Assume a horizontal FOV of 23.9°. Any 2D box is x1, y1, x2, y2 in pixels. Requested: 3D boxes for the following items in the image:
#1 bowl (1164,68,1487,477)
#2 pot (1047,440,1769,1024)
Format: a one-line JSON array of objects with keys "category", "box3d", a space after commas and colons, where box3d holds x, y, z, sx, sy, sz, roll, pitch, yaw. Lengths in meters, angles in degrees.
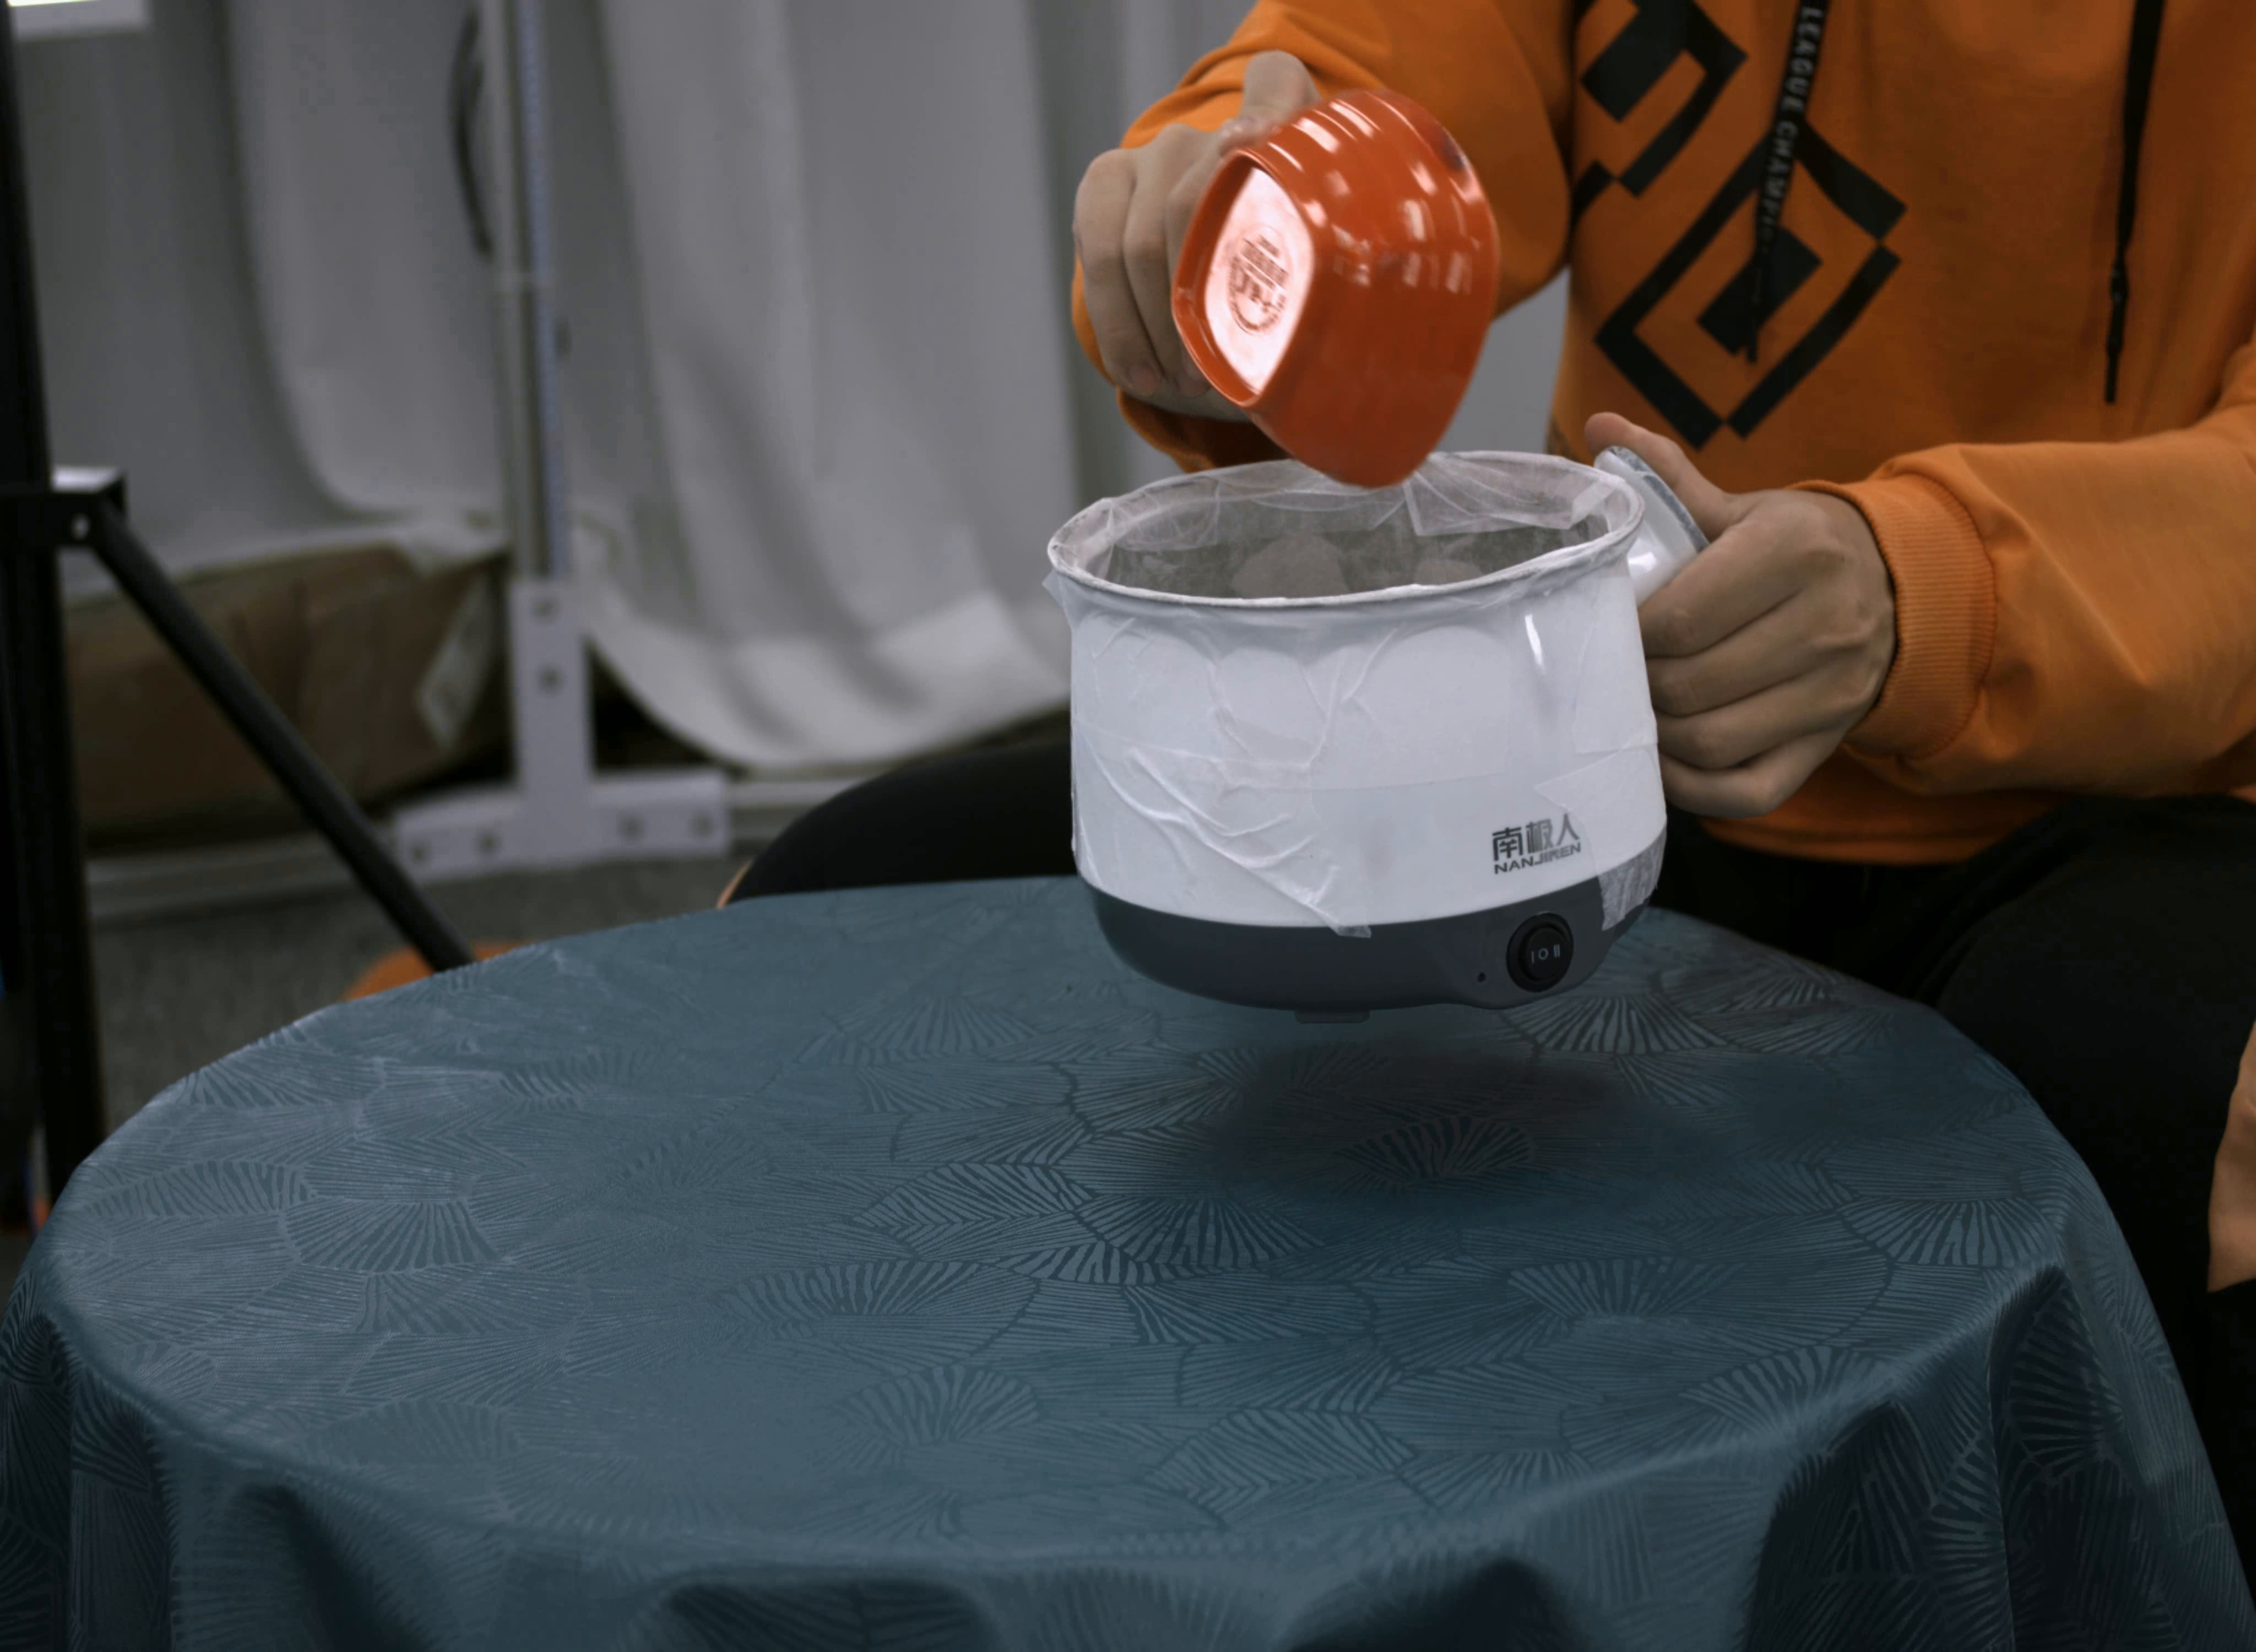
[{"category": "bowl", "box3d": [0.051, -0.161, 1.549, 0.050, 0.119, 0.121, 0, 13, -30]}, {"category": "pot", "box3d": [0.092, -0.035, 1.591, 0.229, 0.136, 0.183, -15, 20, -29]}]
